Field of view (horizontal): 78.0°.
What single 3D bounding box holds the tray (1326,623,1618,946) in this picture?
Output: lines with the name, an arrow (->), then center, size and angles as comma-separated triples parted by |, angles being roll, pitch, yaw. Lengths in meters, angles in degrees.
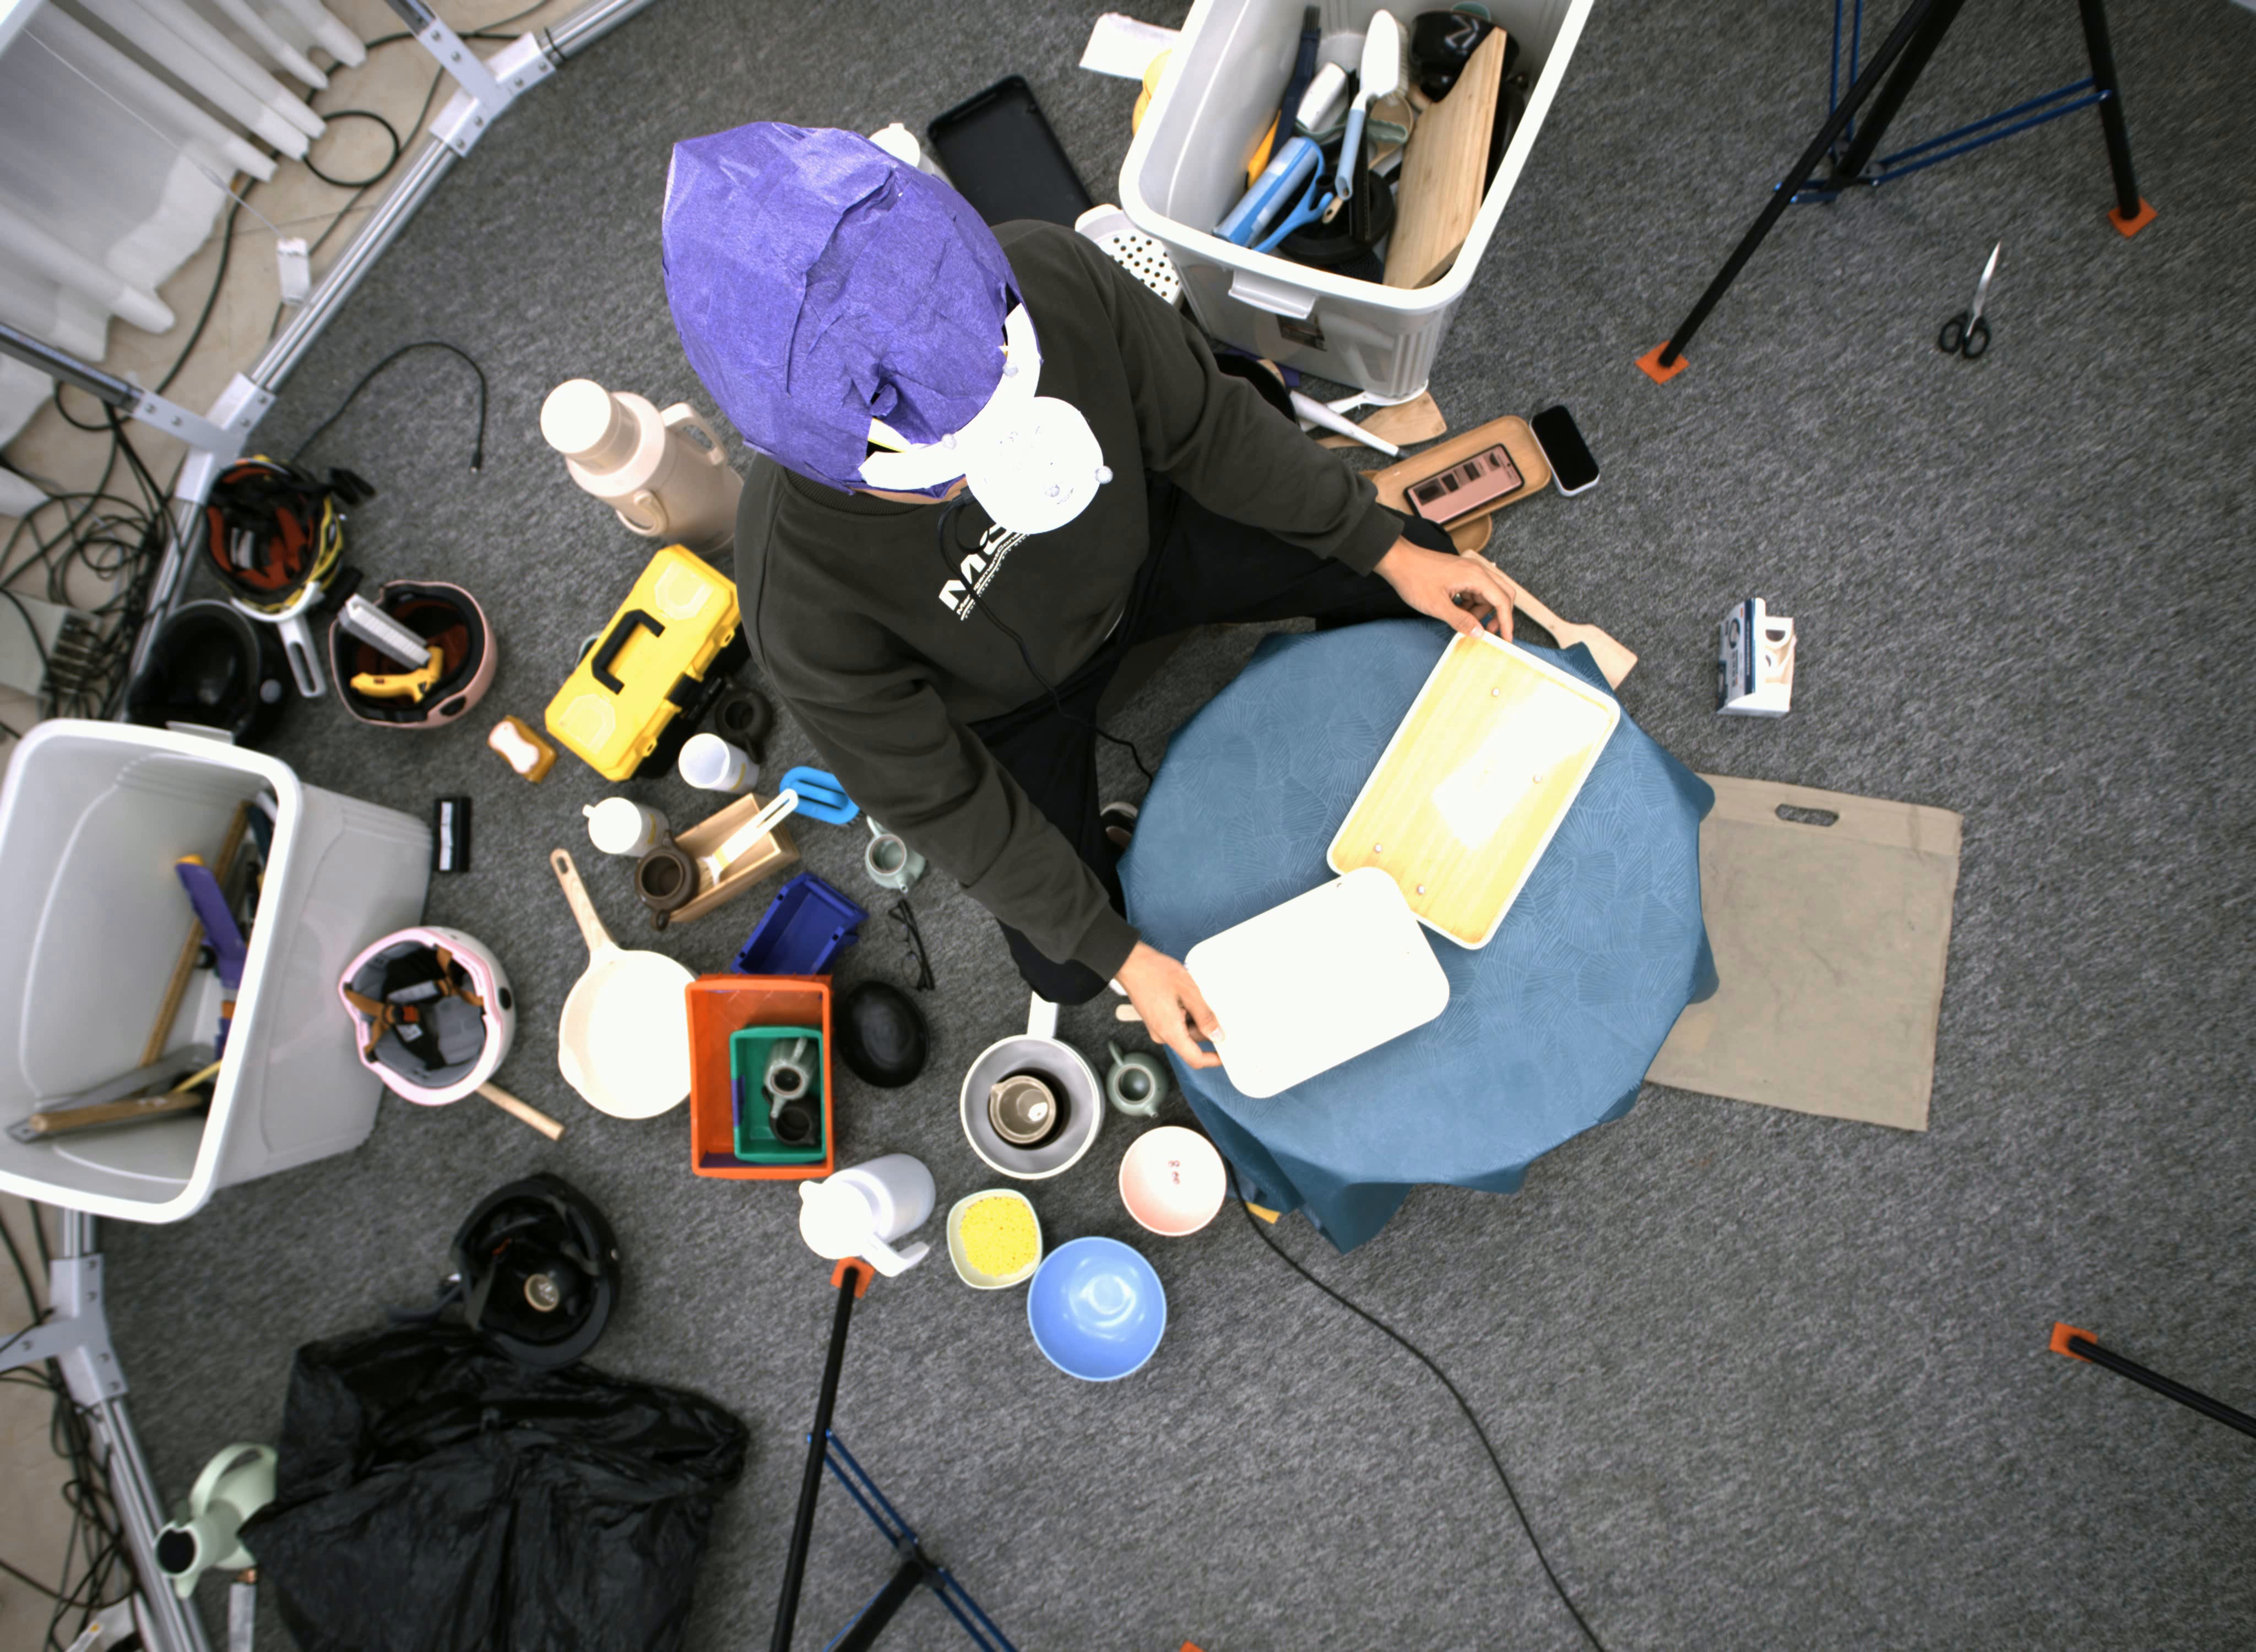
tray -> 0.358, -0.046, 1.437 | 0.191, 0.027, 0.301 | 31, 92, 11

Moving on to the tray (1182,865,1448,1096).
tray -> 0.188, 0.155, 1.405 | 0.240, 0.017, 0.169 | -26, 77, 1
